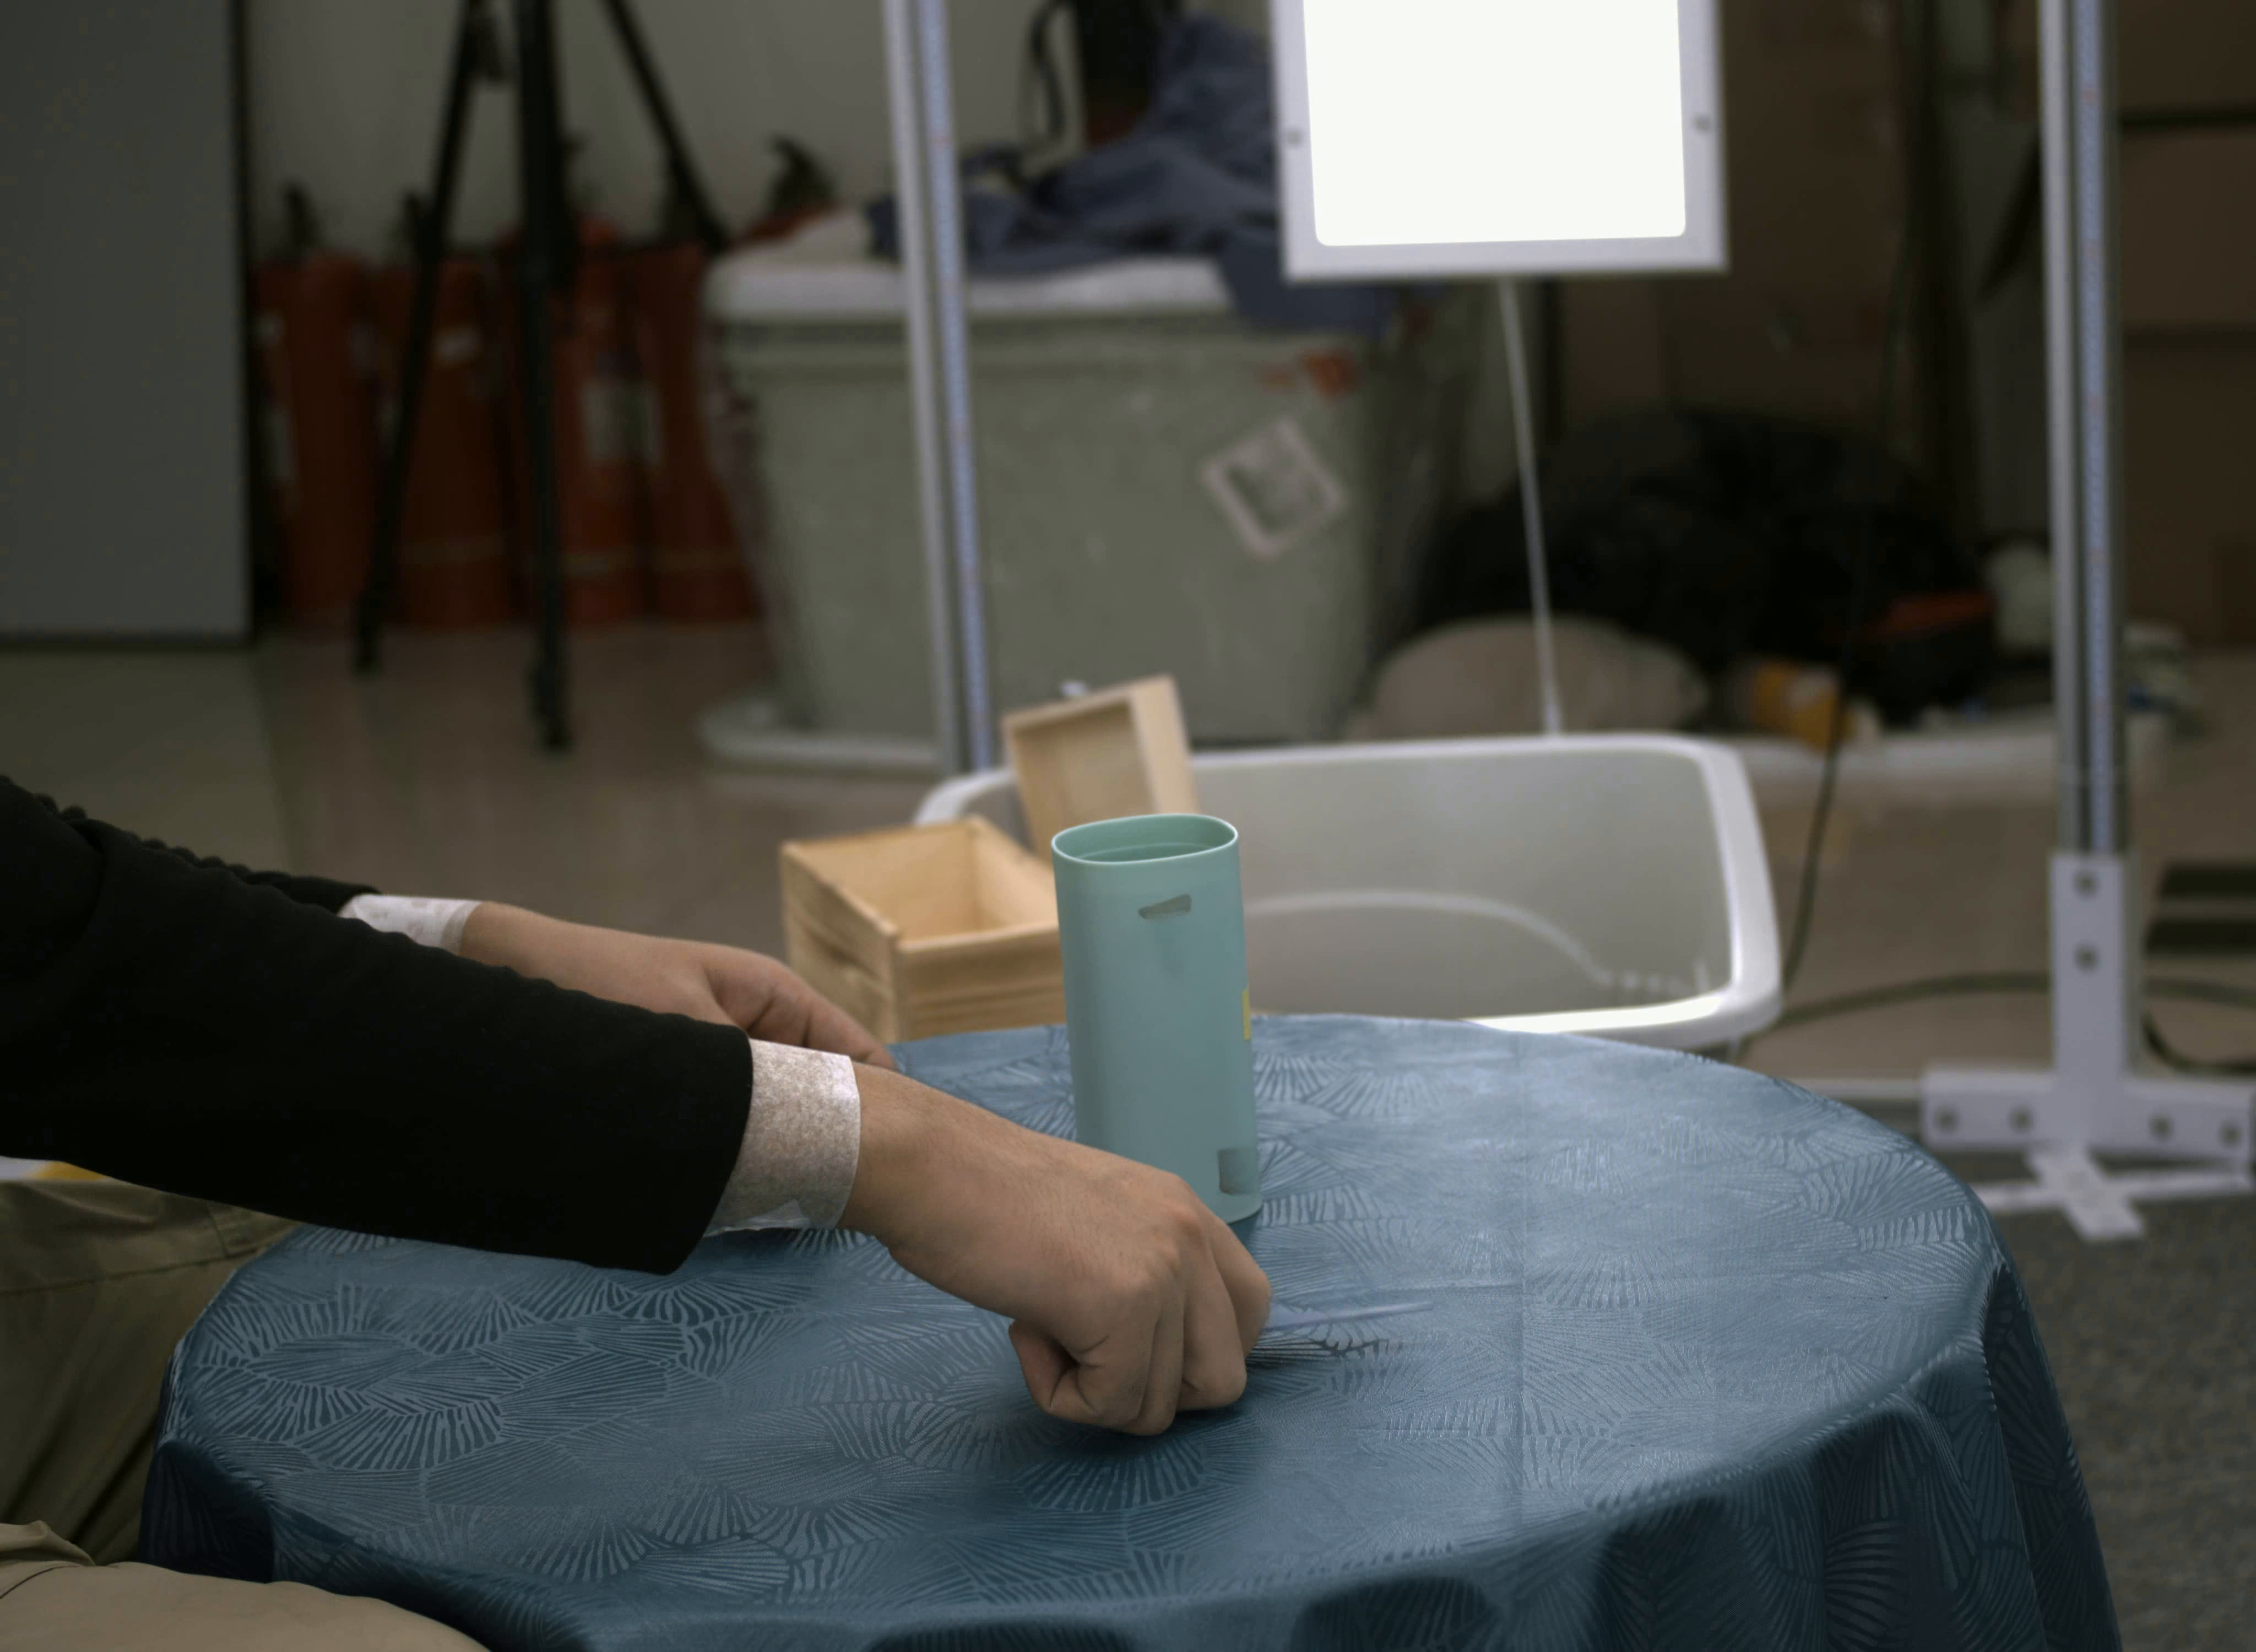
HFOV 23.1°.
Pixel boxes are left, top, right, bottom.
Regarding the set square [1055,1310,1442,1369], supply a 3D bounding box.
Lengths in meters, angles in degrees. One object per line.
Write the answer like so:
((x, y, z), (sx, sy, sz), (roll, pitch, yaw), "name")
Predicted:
((0.029, 0.158, 1.706), (0.134, 0.006, 0.060), (-4, 7, 23), "set square")

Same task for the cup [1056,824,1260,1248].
((0.010, 0.070, 1.864), (0.066, 0.133, 0.066), (-4, 14, 0), "cup")
